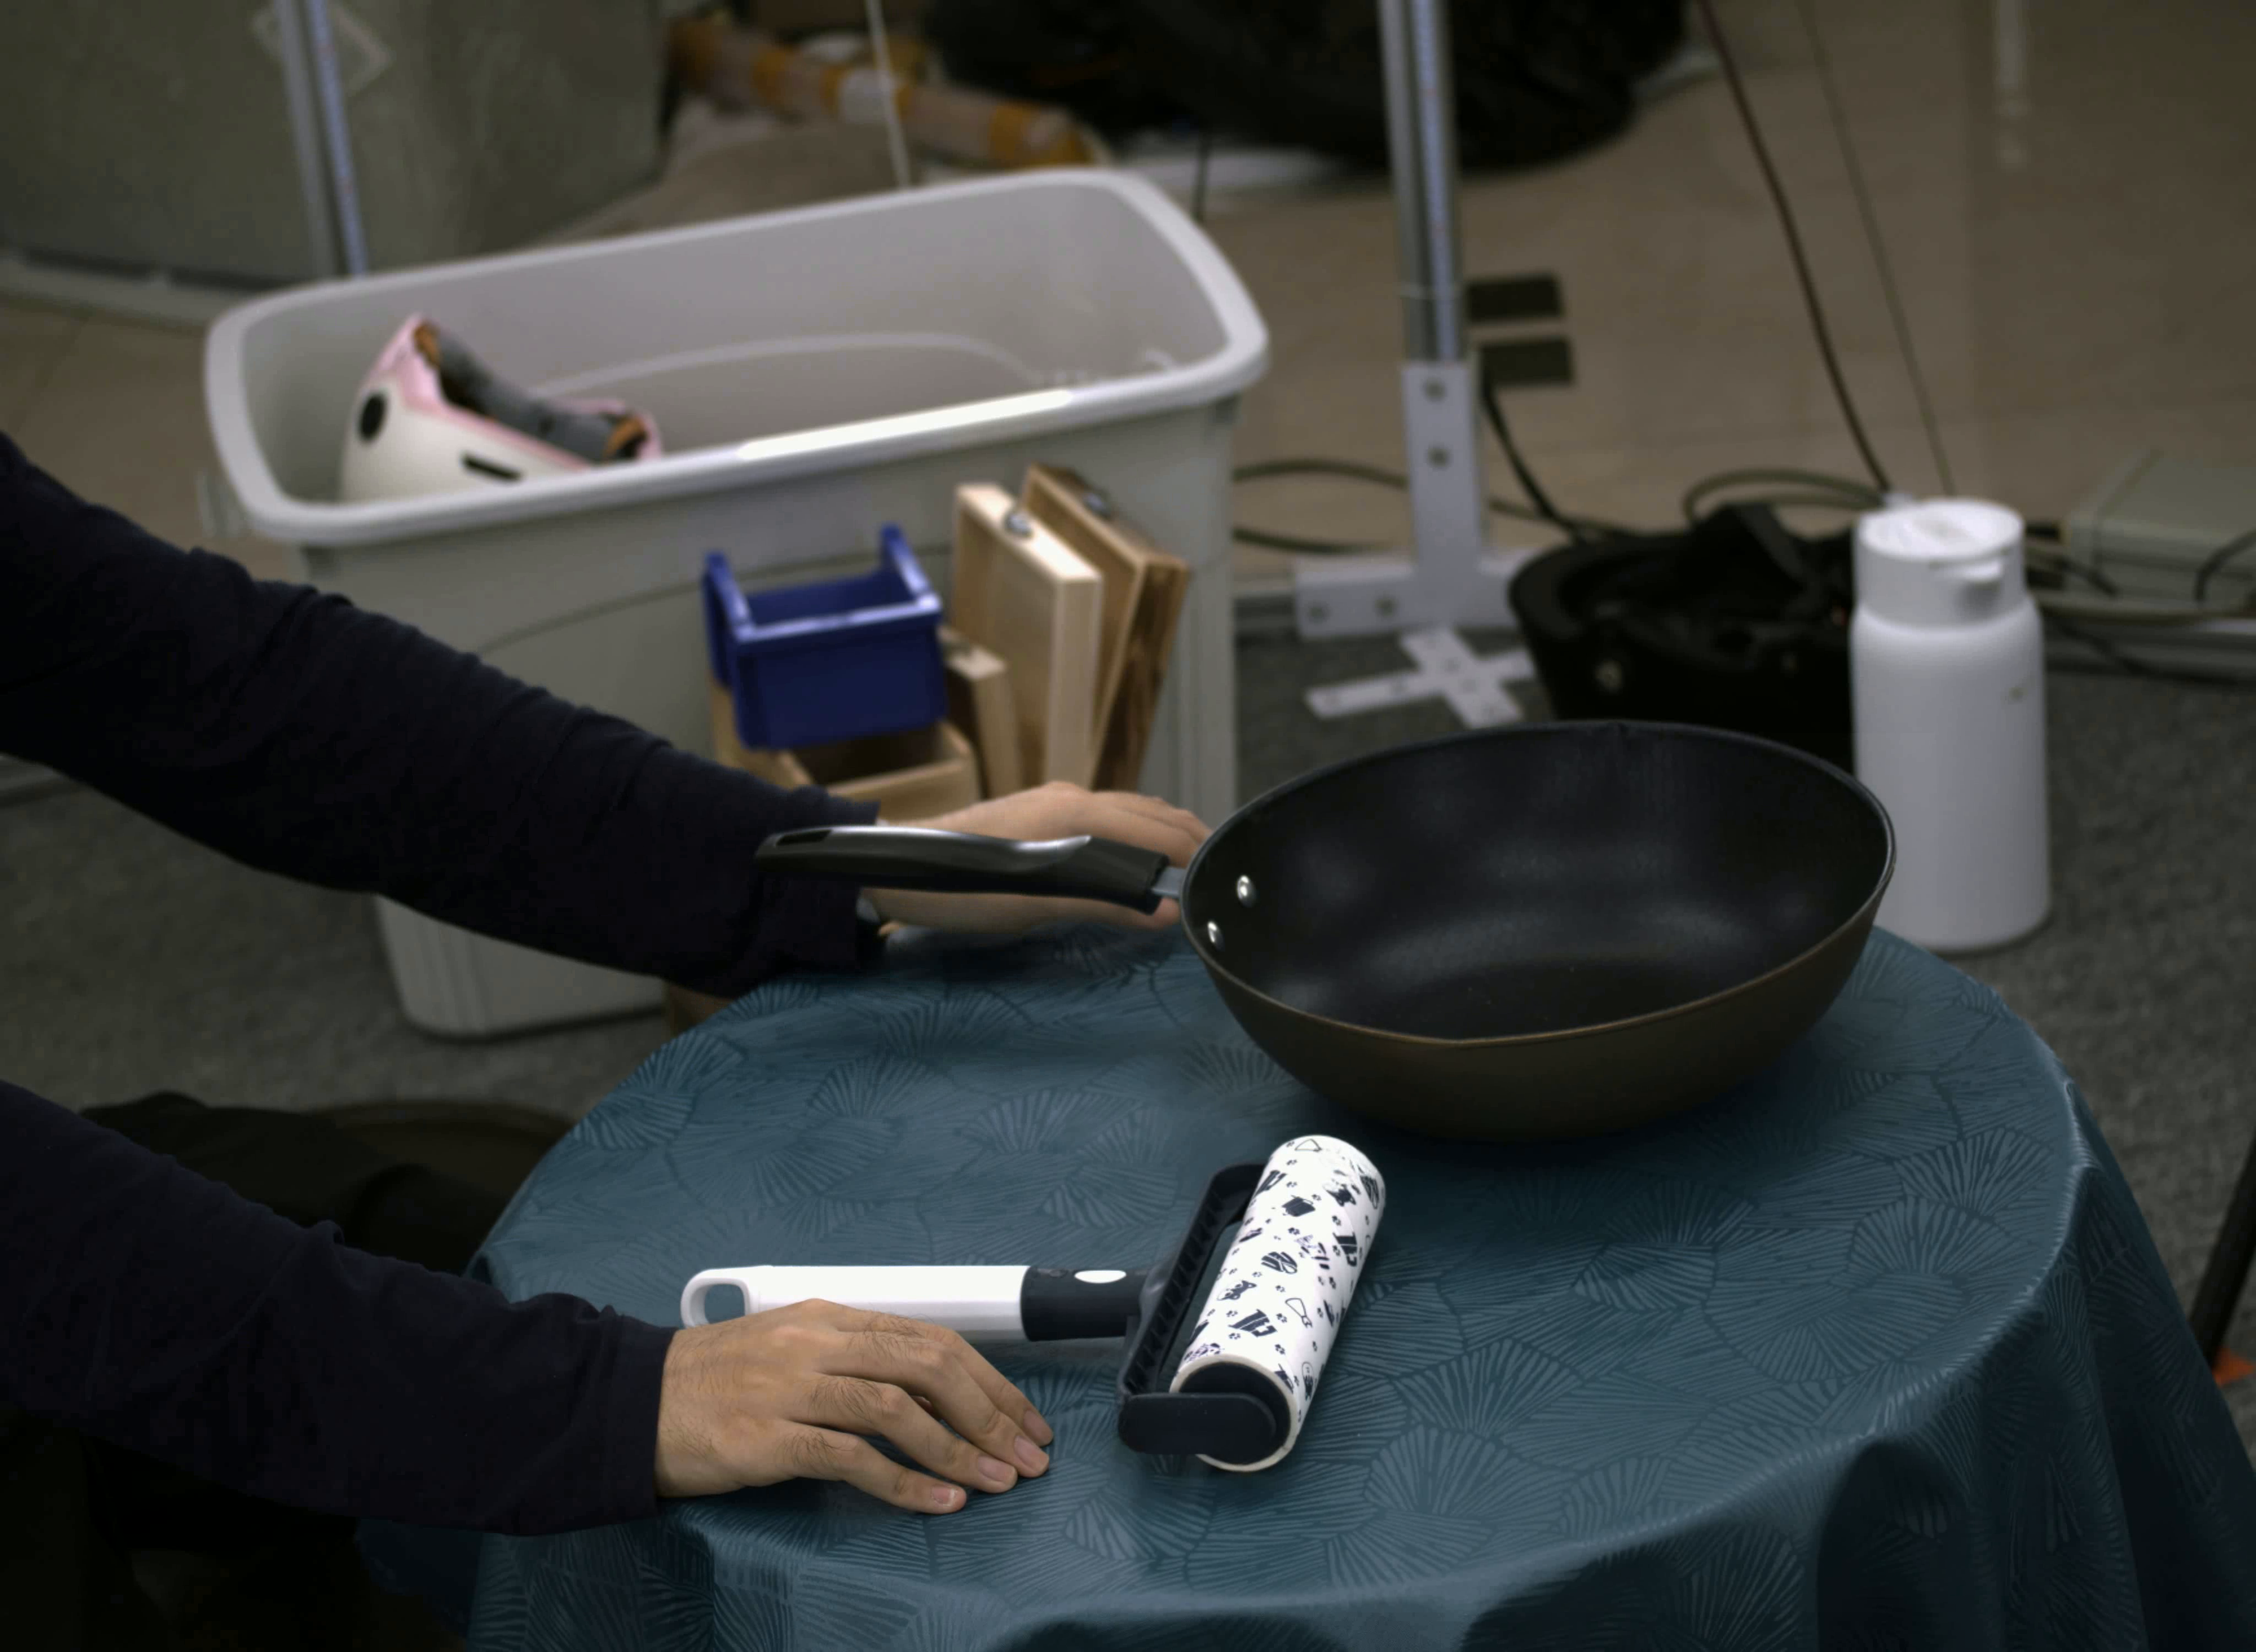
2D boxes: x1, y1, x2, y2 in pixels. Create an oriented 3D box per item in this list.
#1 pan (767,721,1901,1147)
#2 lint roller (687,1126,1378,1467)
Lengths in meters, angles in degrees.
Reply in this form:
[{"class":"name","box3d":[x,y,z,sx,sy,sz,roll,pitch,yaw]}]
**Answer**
[{"class":"pan","box3d":[0.075,0.048,2.228,0.462,0.088,0.284,2,27,19]},{"class":"lint roller","box3d":[-0.044,0.172,2.044,0.247,0.051,0.173,-3,26,16]}]
